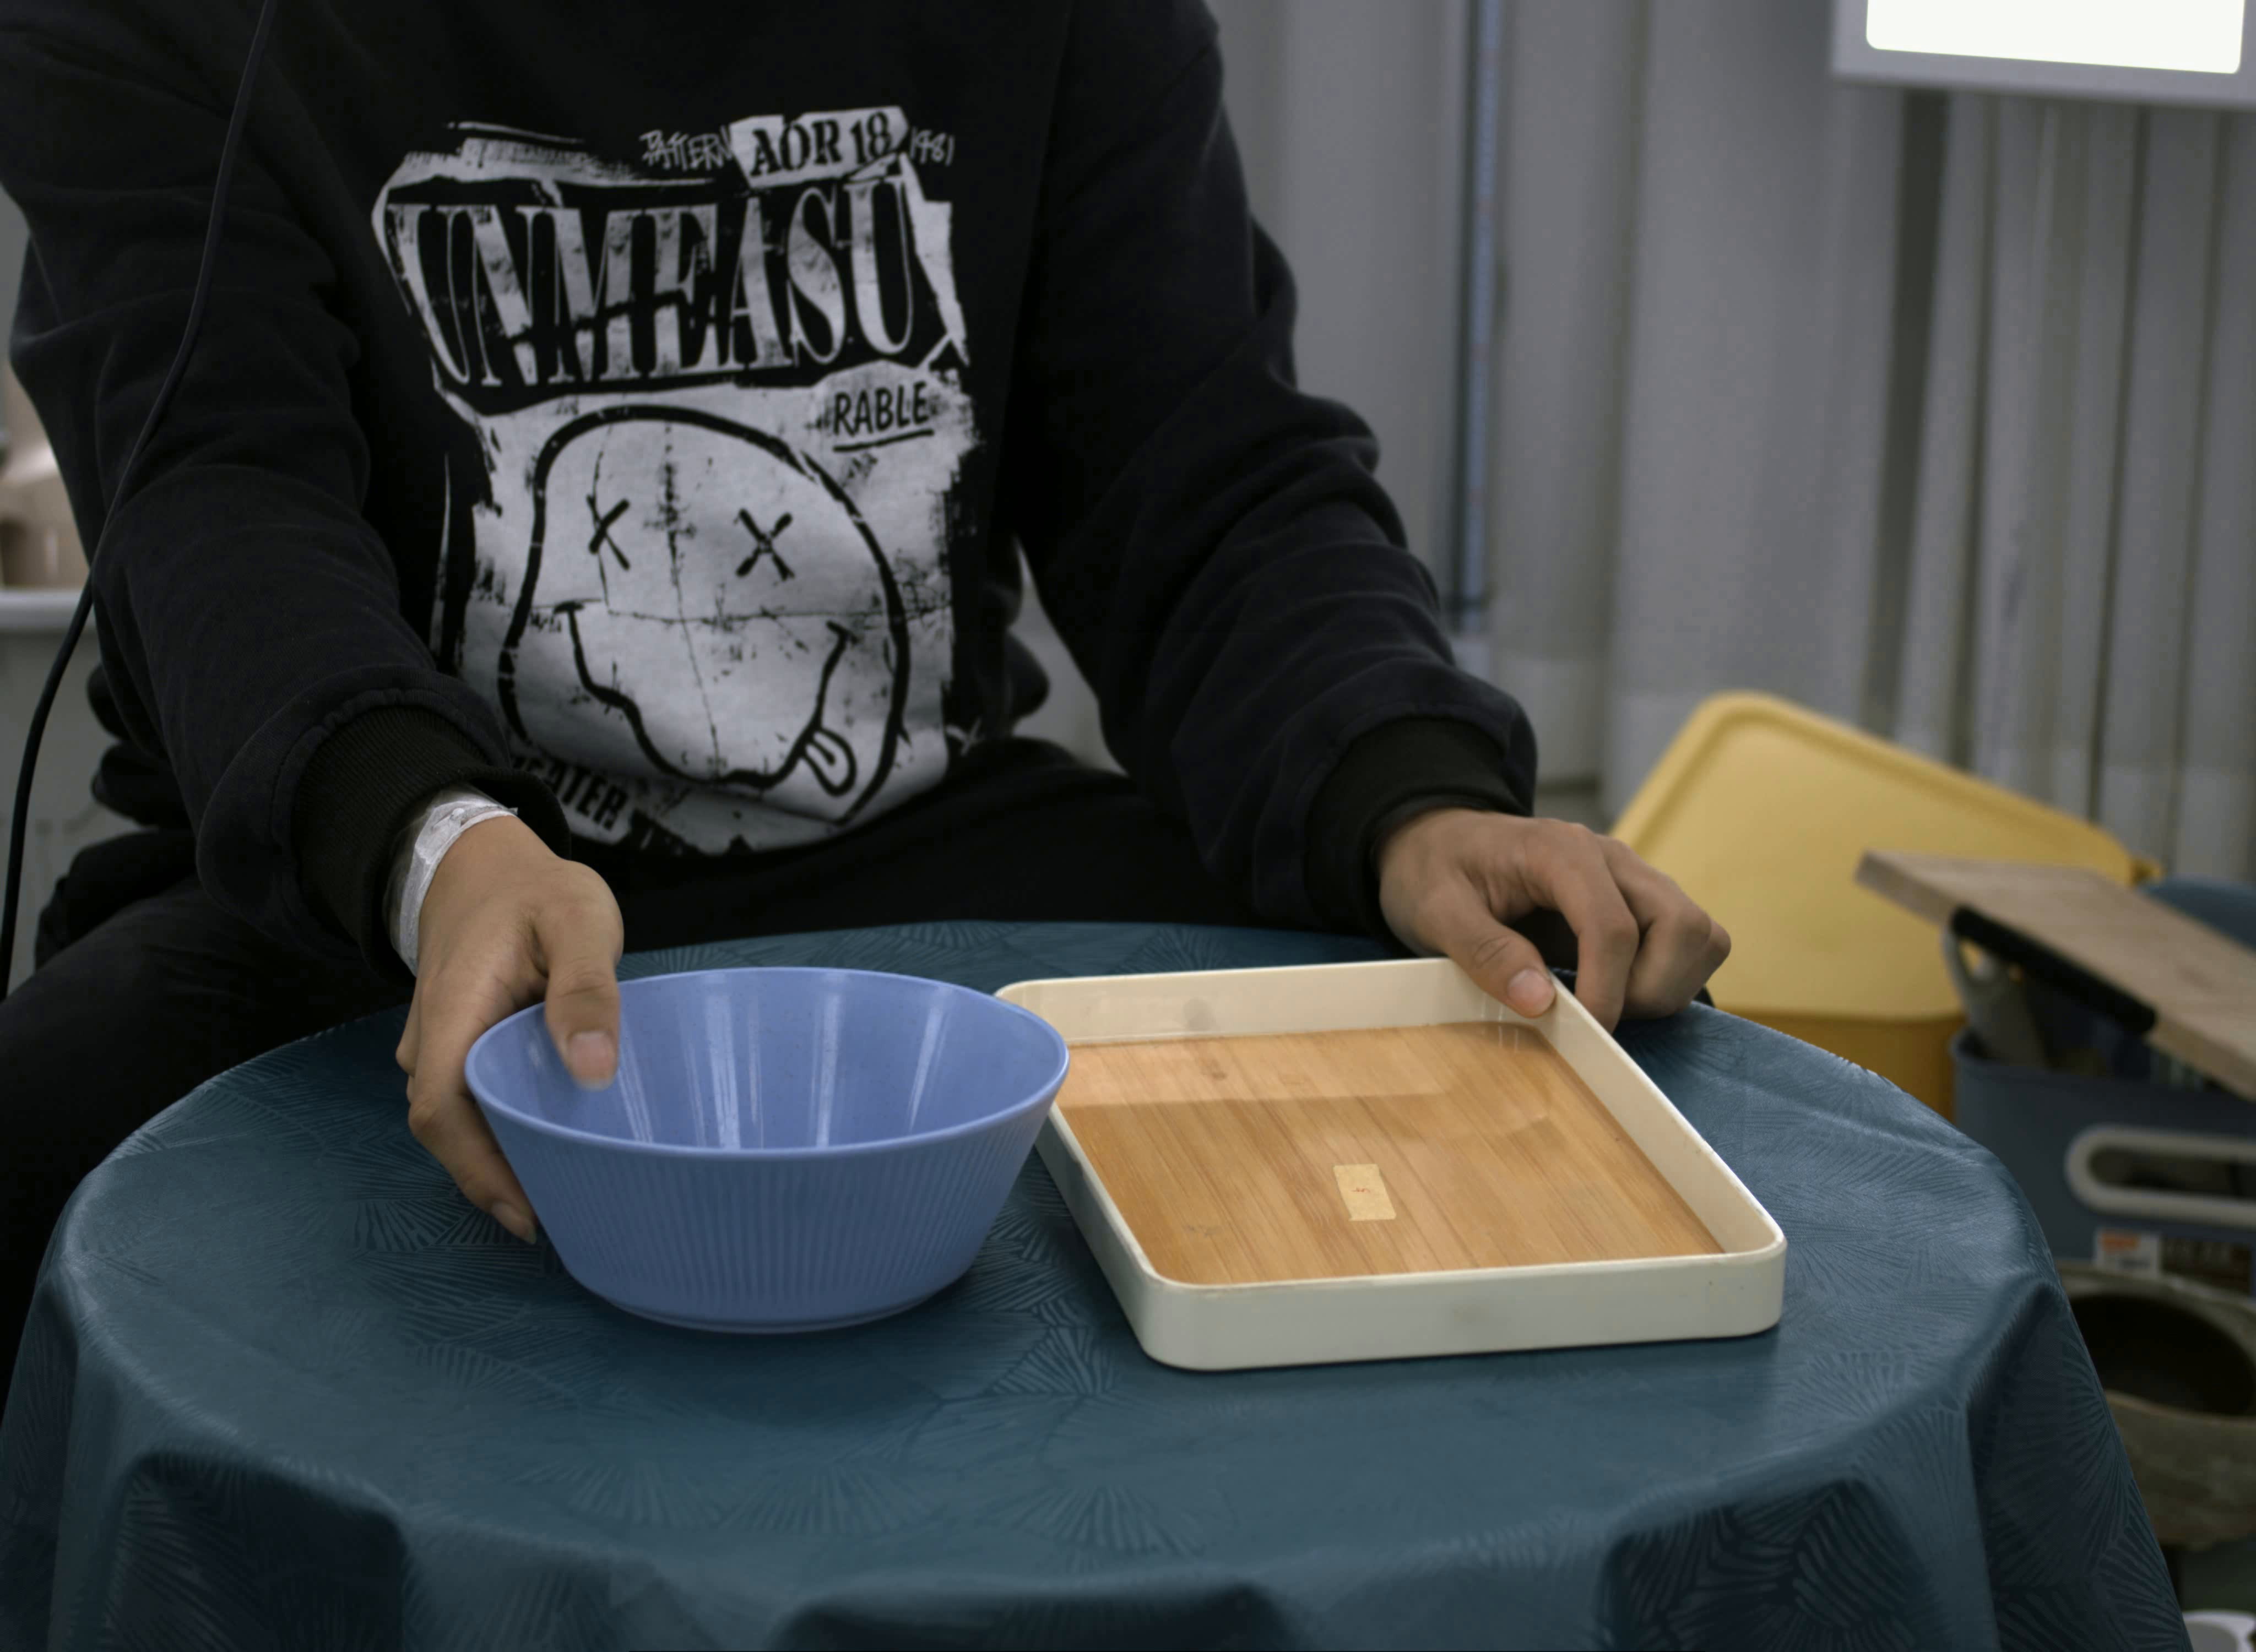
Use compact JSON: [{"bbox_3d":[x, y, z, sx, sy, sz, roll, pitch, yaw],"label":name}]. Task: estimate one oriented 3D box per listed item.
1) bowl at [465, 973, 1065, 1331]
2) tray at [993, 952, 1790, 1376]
[{"bbox_3d":[-0.106,0.098,1.544,0.175,0.071,0.175,2,15,0],"label":"bowl"},{"bbox_3d":[0.073,0.099,1.628,0.191,0.027,0.297,-3,17,-11],"label":"tray"}]
